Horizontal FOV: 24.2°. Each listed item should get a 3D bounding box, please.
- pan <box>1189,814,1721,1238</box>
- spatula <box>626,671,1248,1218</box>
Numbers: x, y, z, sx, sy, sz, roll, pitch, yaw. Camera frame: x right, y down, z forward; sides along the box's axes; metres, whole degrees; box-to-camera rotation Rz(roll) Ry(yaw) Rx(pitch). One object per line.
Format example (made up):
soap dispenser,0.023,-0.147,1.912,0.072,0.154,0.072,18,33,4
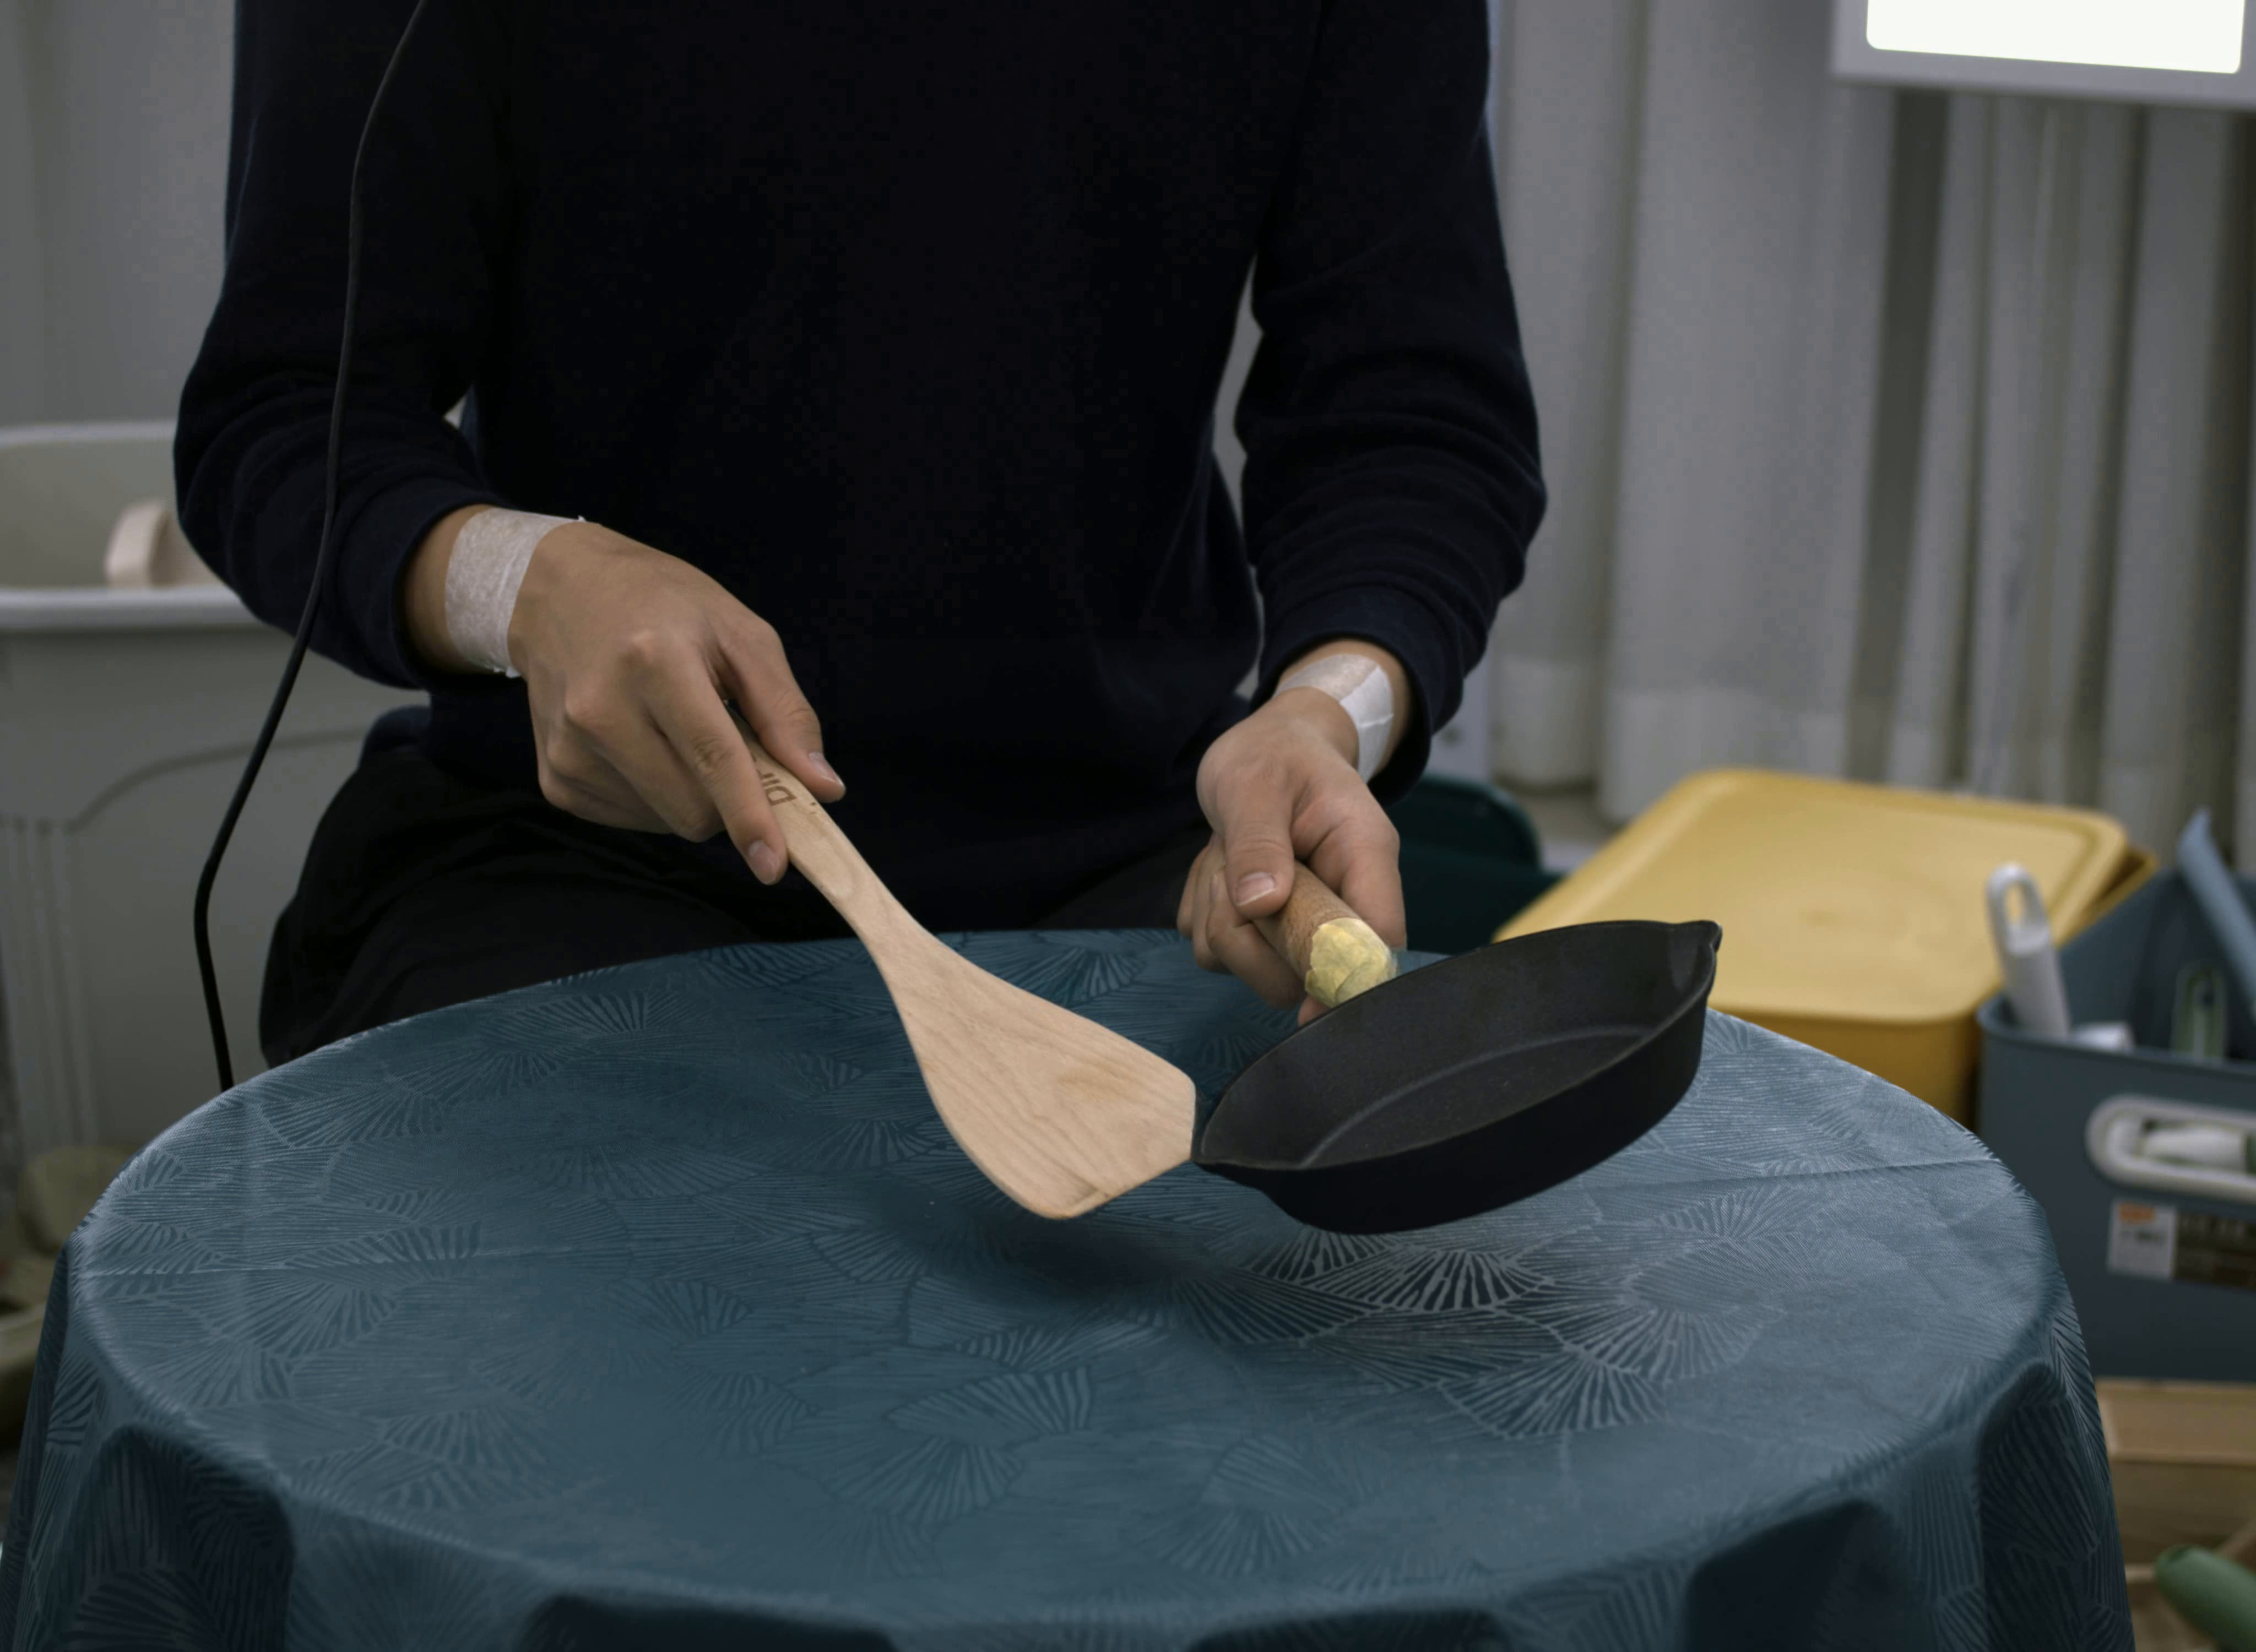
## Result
pan,0.080,0.052,1.604,0.169,0.050,0.321,-23,16,-7
spatula,-0.074,0.028,1.638,0.080,0.017,0.323,-17,40,-27
